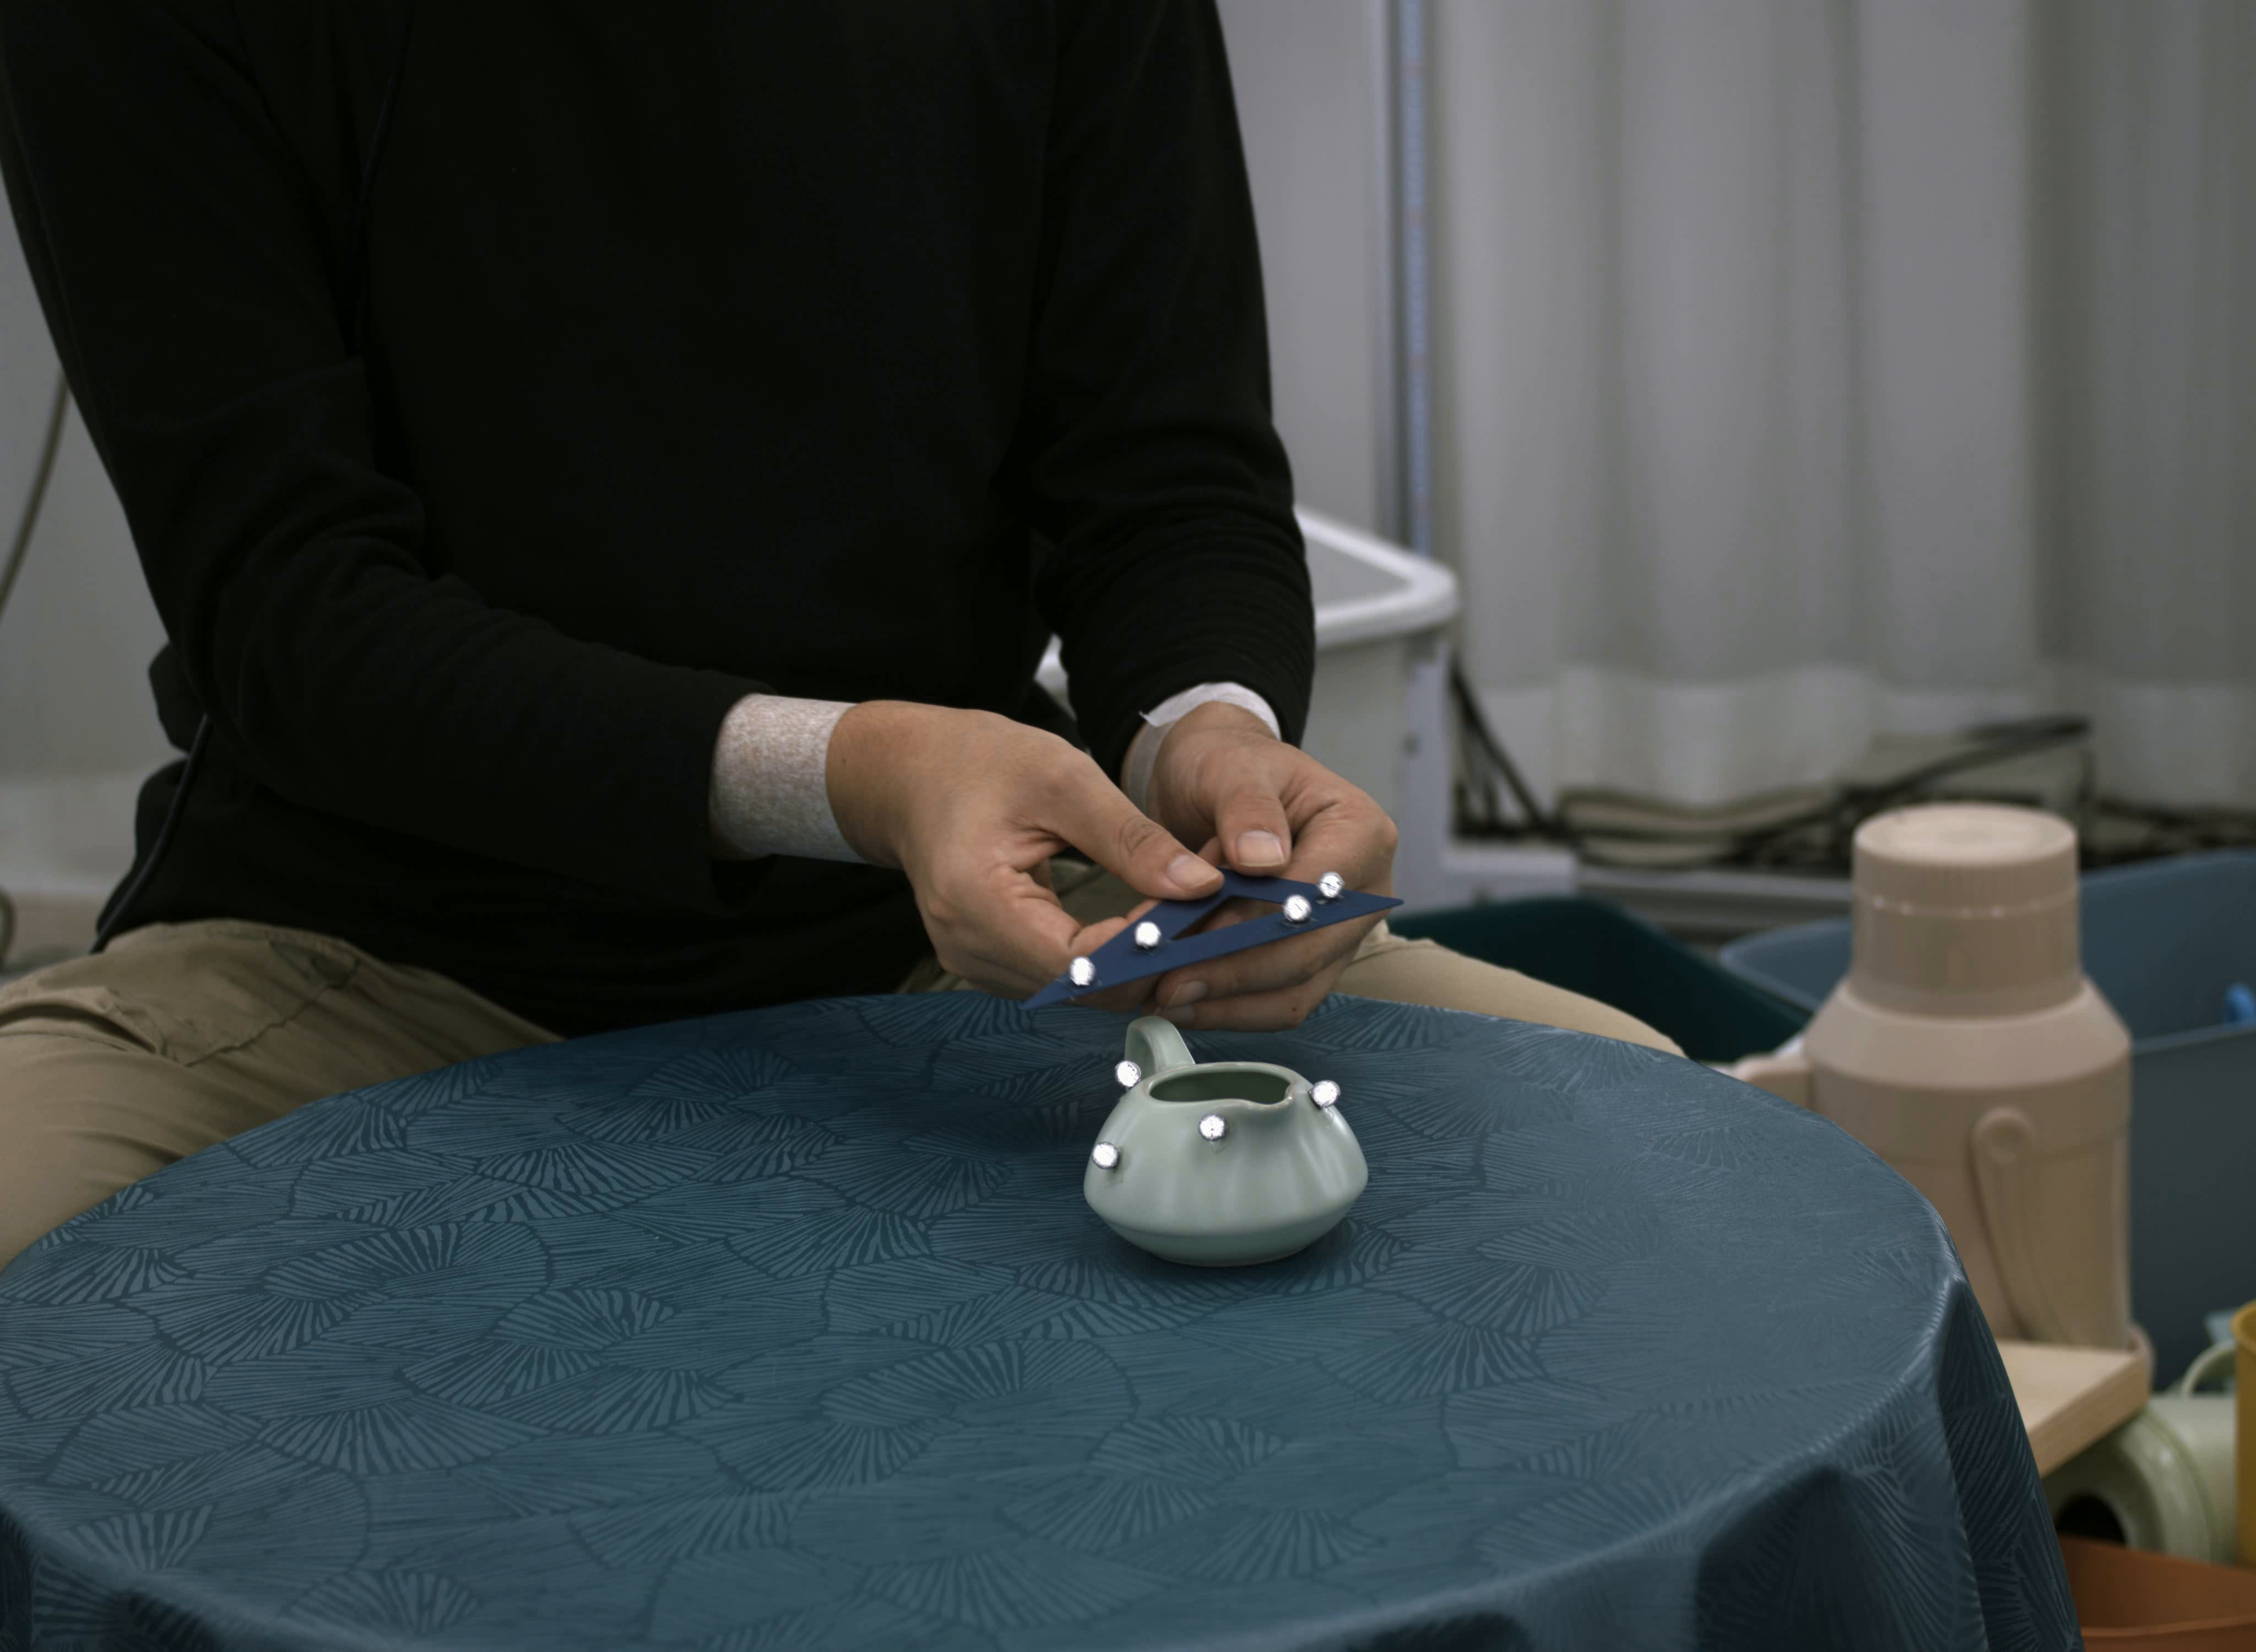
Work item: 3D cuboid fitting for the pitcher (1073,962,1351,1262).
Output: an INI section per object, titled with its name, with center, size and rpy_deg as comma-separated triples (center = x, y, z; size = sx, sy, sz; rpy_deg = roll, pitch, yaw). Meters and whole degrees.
[pitcher]
center = 0.022, 0.089, 1.675
size = 0.086, 0.060, 0.109
rpy_deg = -14, 32, -3

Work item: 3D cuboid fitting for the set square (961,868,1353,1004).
[set square]
center = 0.000, 0.030, 1.712
size = 0.131, 0.006, 0.062
rpy_deg = -14, 25, -23
